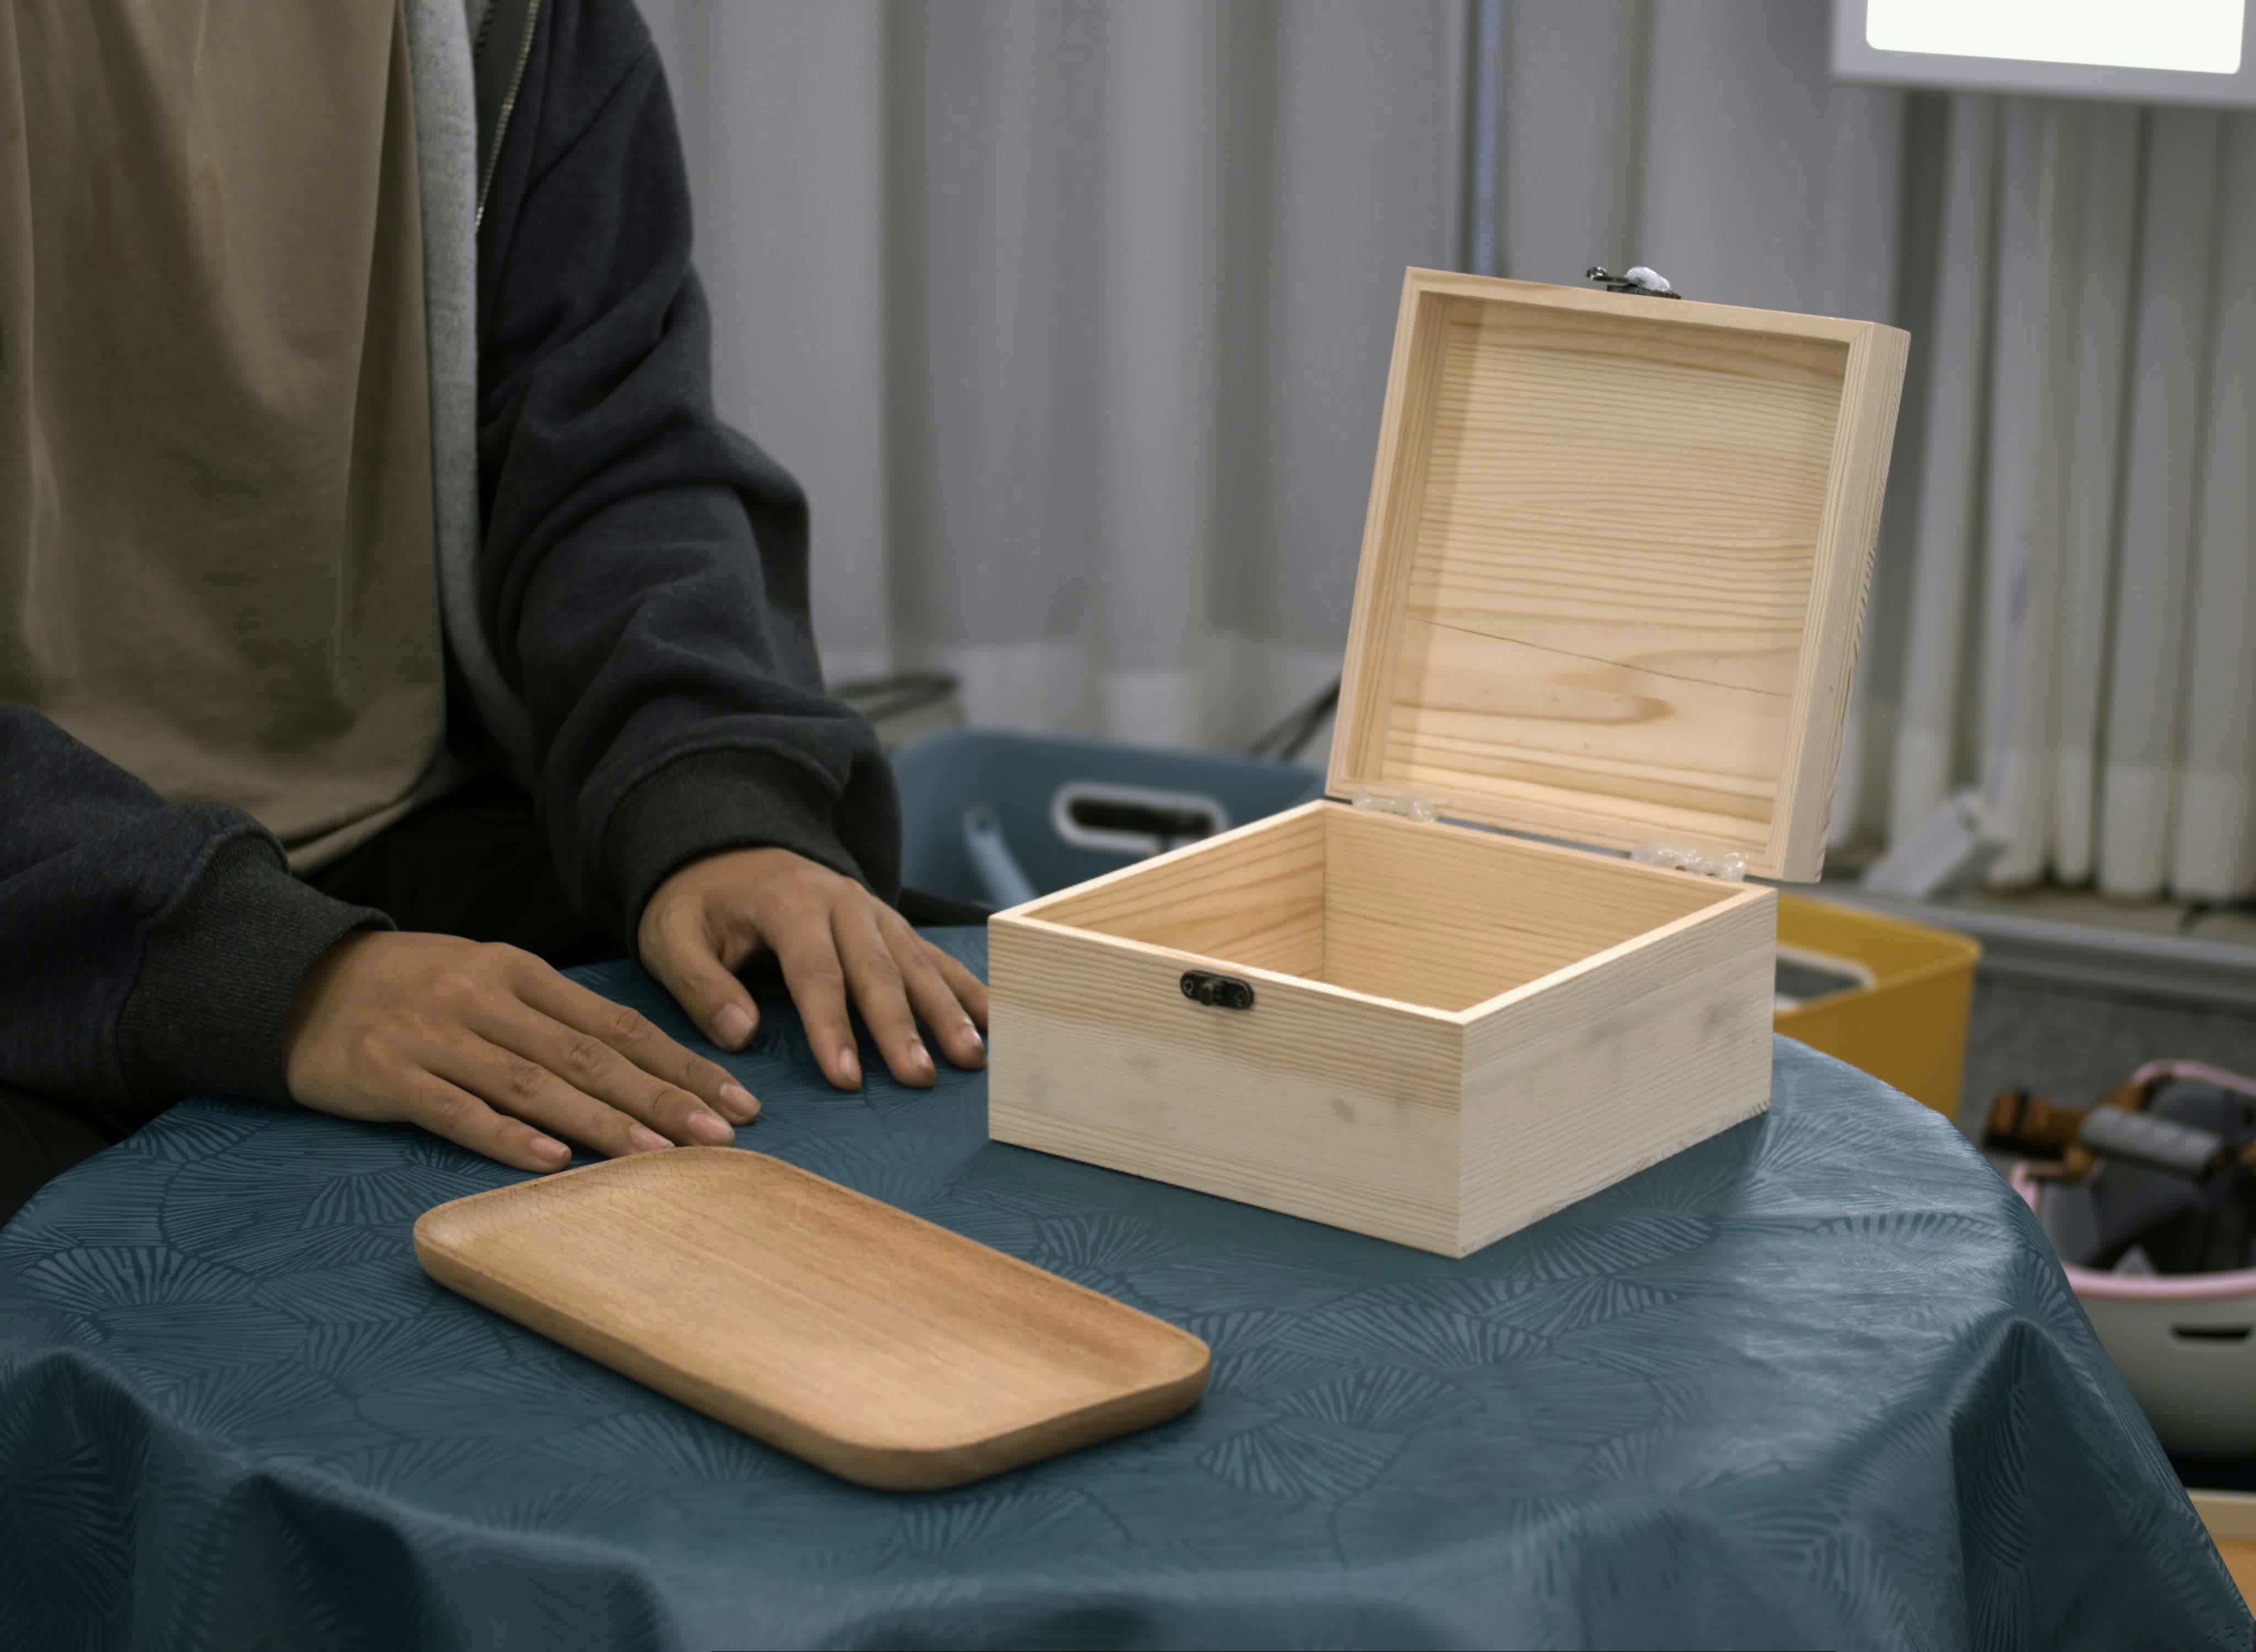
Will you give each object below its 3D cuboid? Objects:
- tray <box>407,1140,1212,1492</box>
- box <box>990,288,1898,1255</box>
[{"bbox_3d":[-0.094,0.136,1.499,0.131,0.023,0.247,-9,17,-40],"label":"tray"},{"bbox_3d":[0.102,-0.029,1.680,0.179,0.255,0.266,9,16,35],"label":"box"}]
